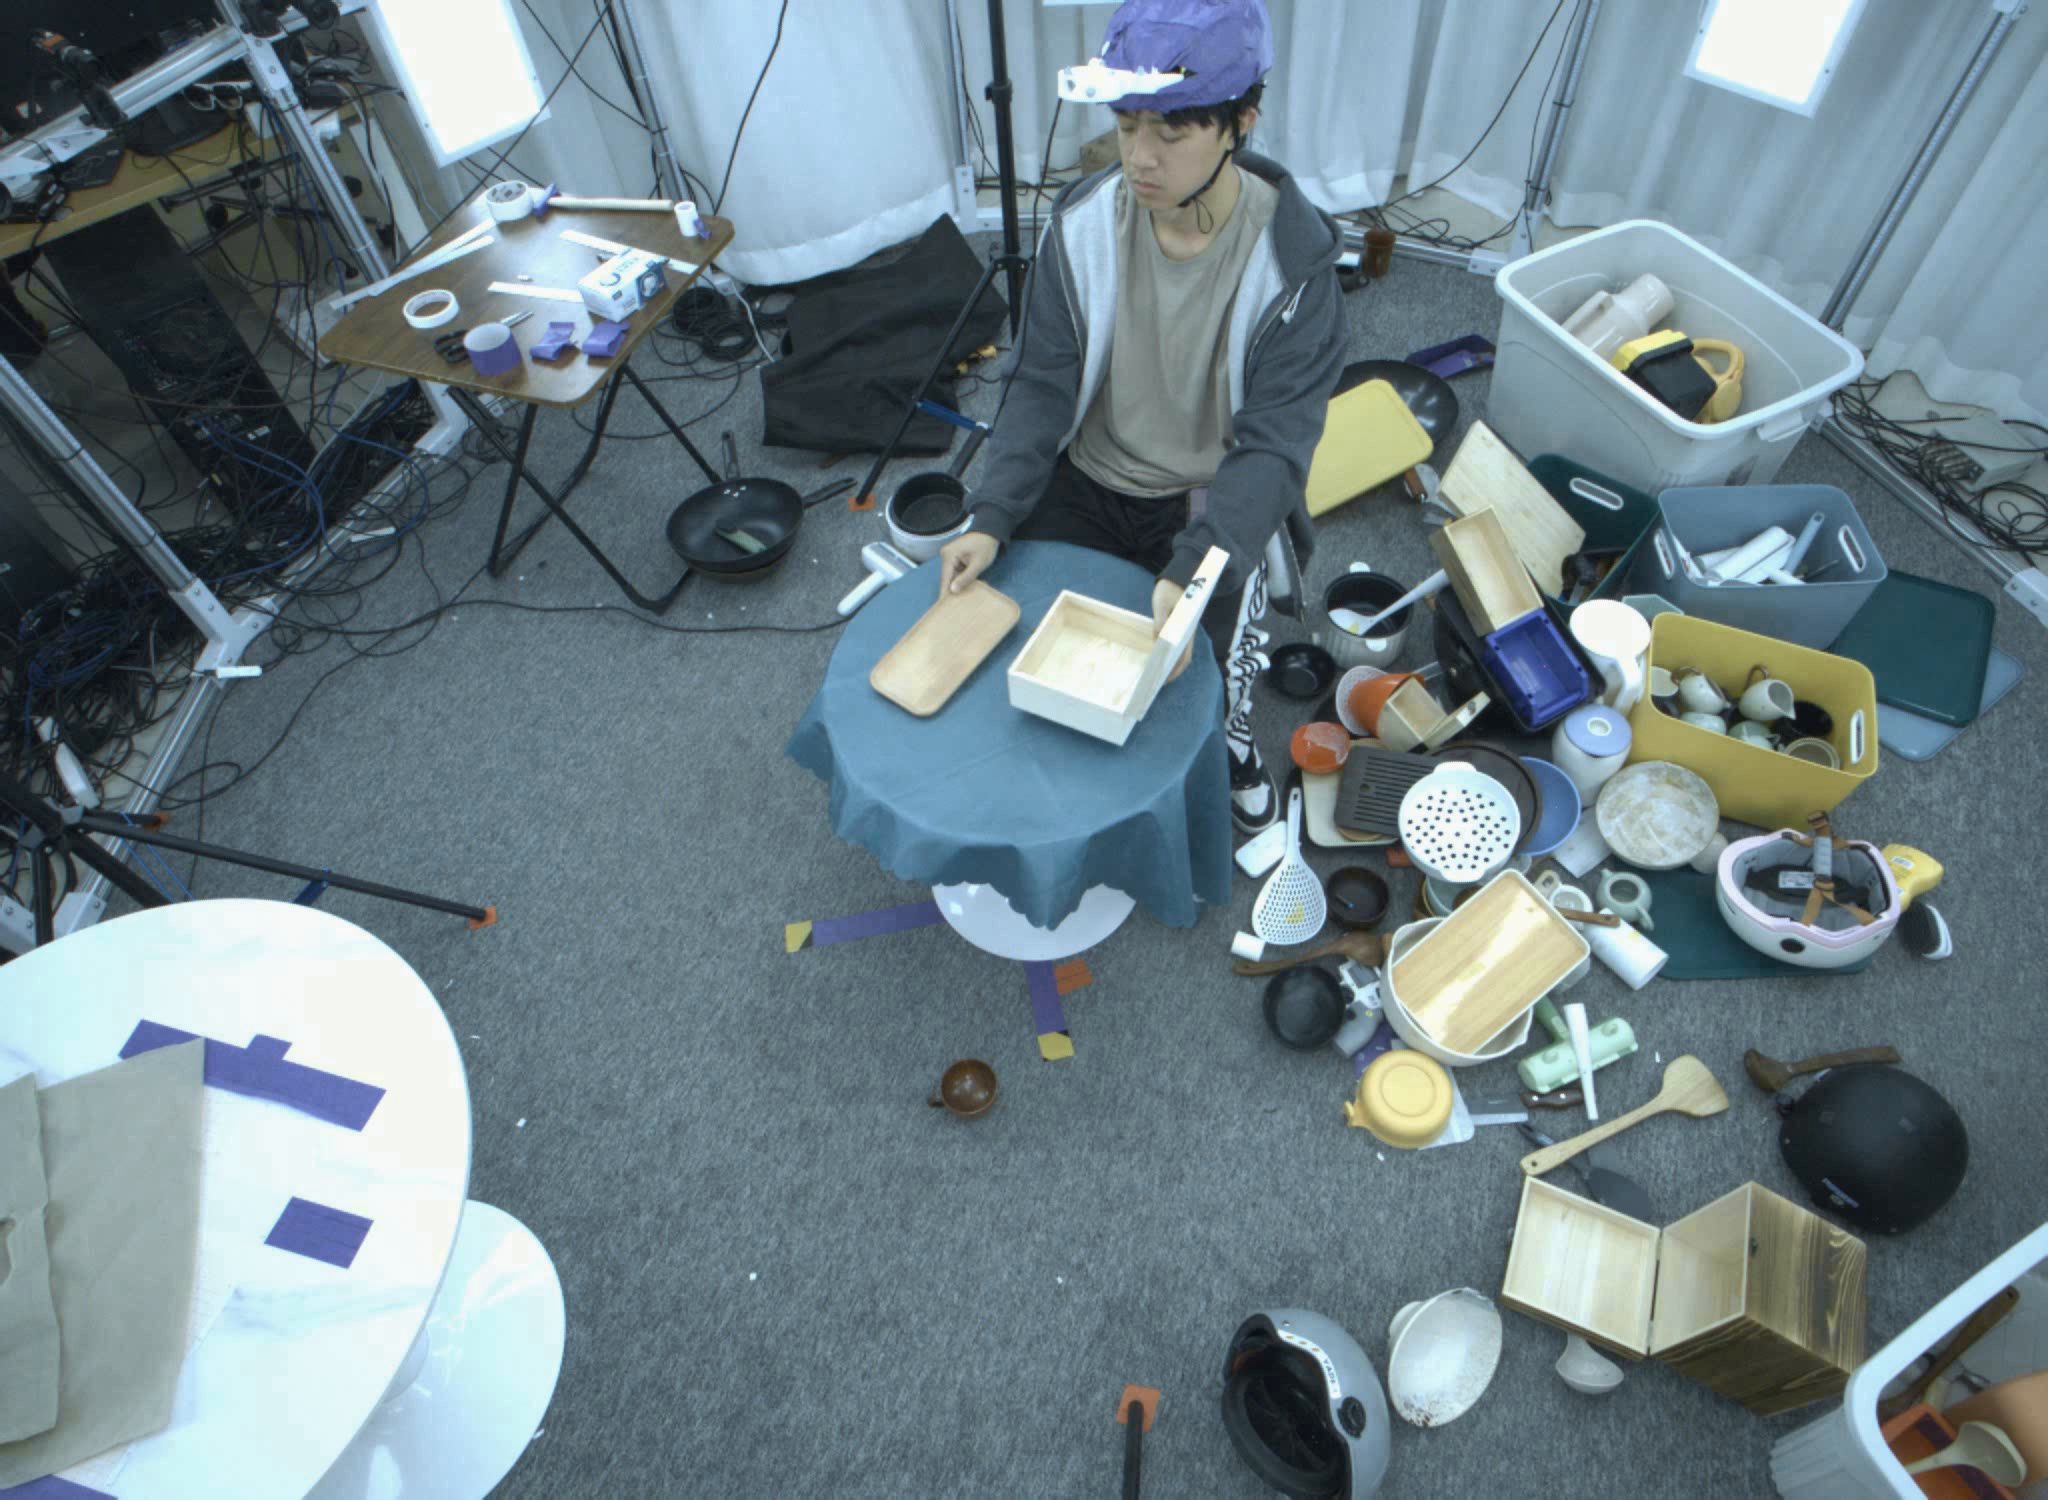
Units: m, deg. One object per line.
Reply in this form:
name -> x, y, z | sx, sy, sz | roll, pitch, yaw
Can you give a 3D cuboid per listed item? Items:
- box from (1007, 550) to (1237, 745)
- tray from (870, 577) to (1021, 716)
box -> 0.127, -0.165, 1.715 | 0.262, 0.256, 0.182 | 21, 54, 15
tray -> -0.120, -0.161, 1.883 | 0.129, 0.023, 0.252 | 34, 67, 16
